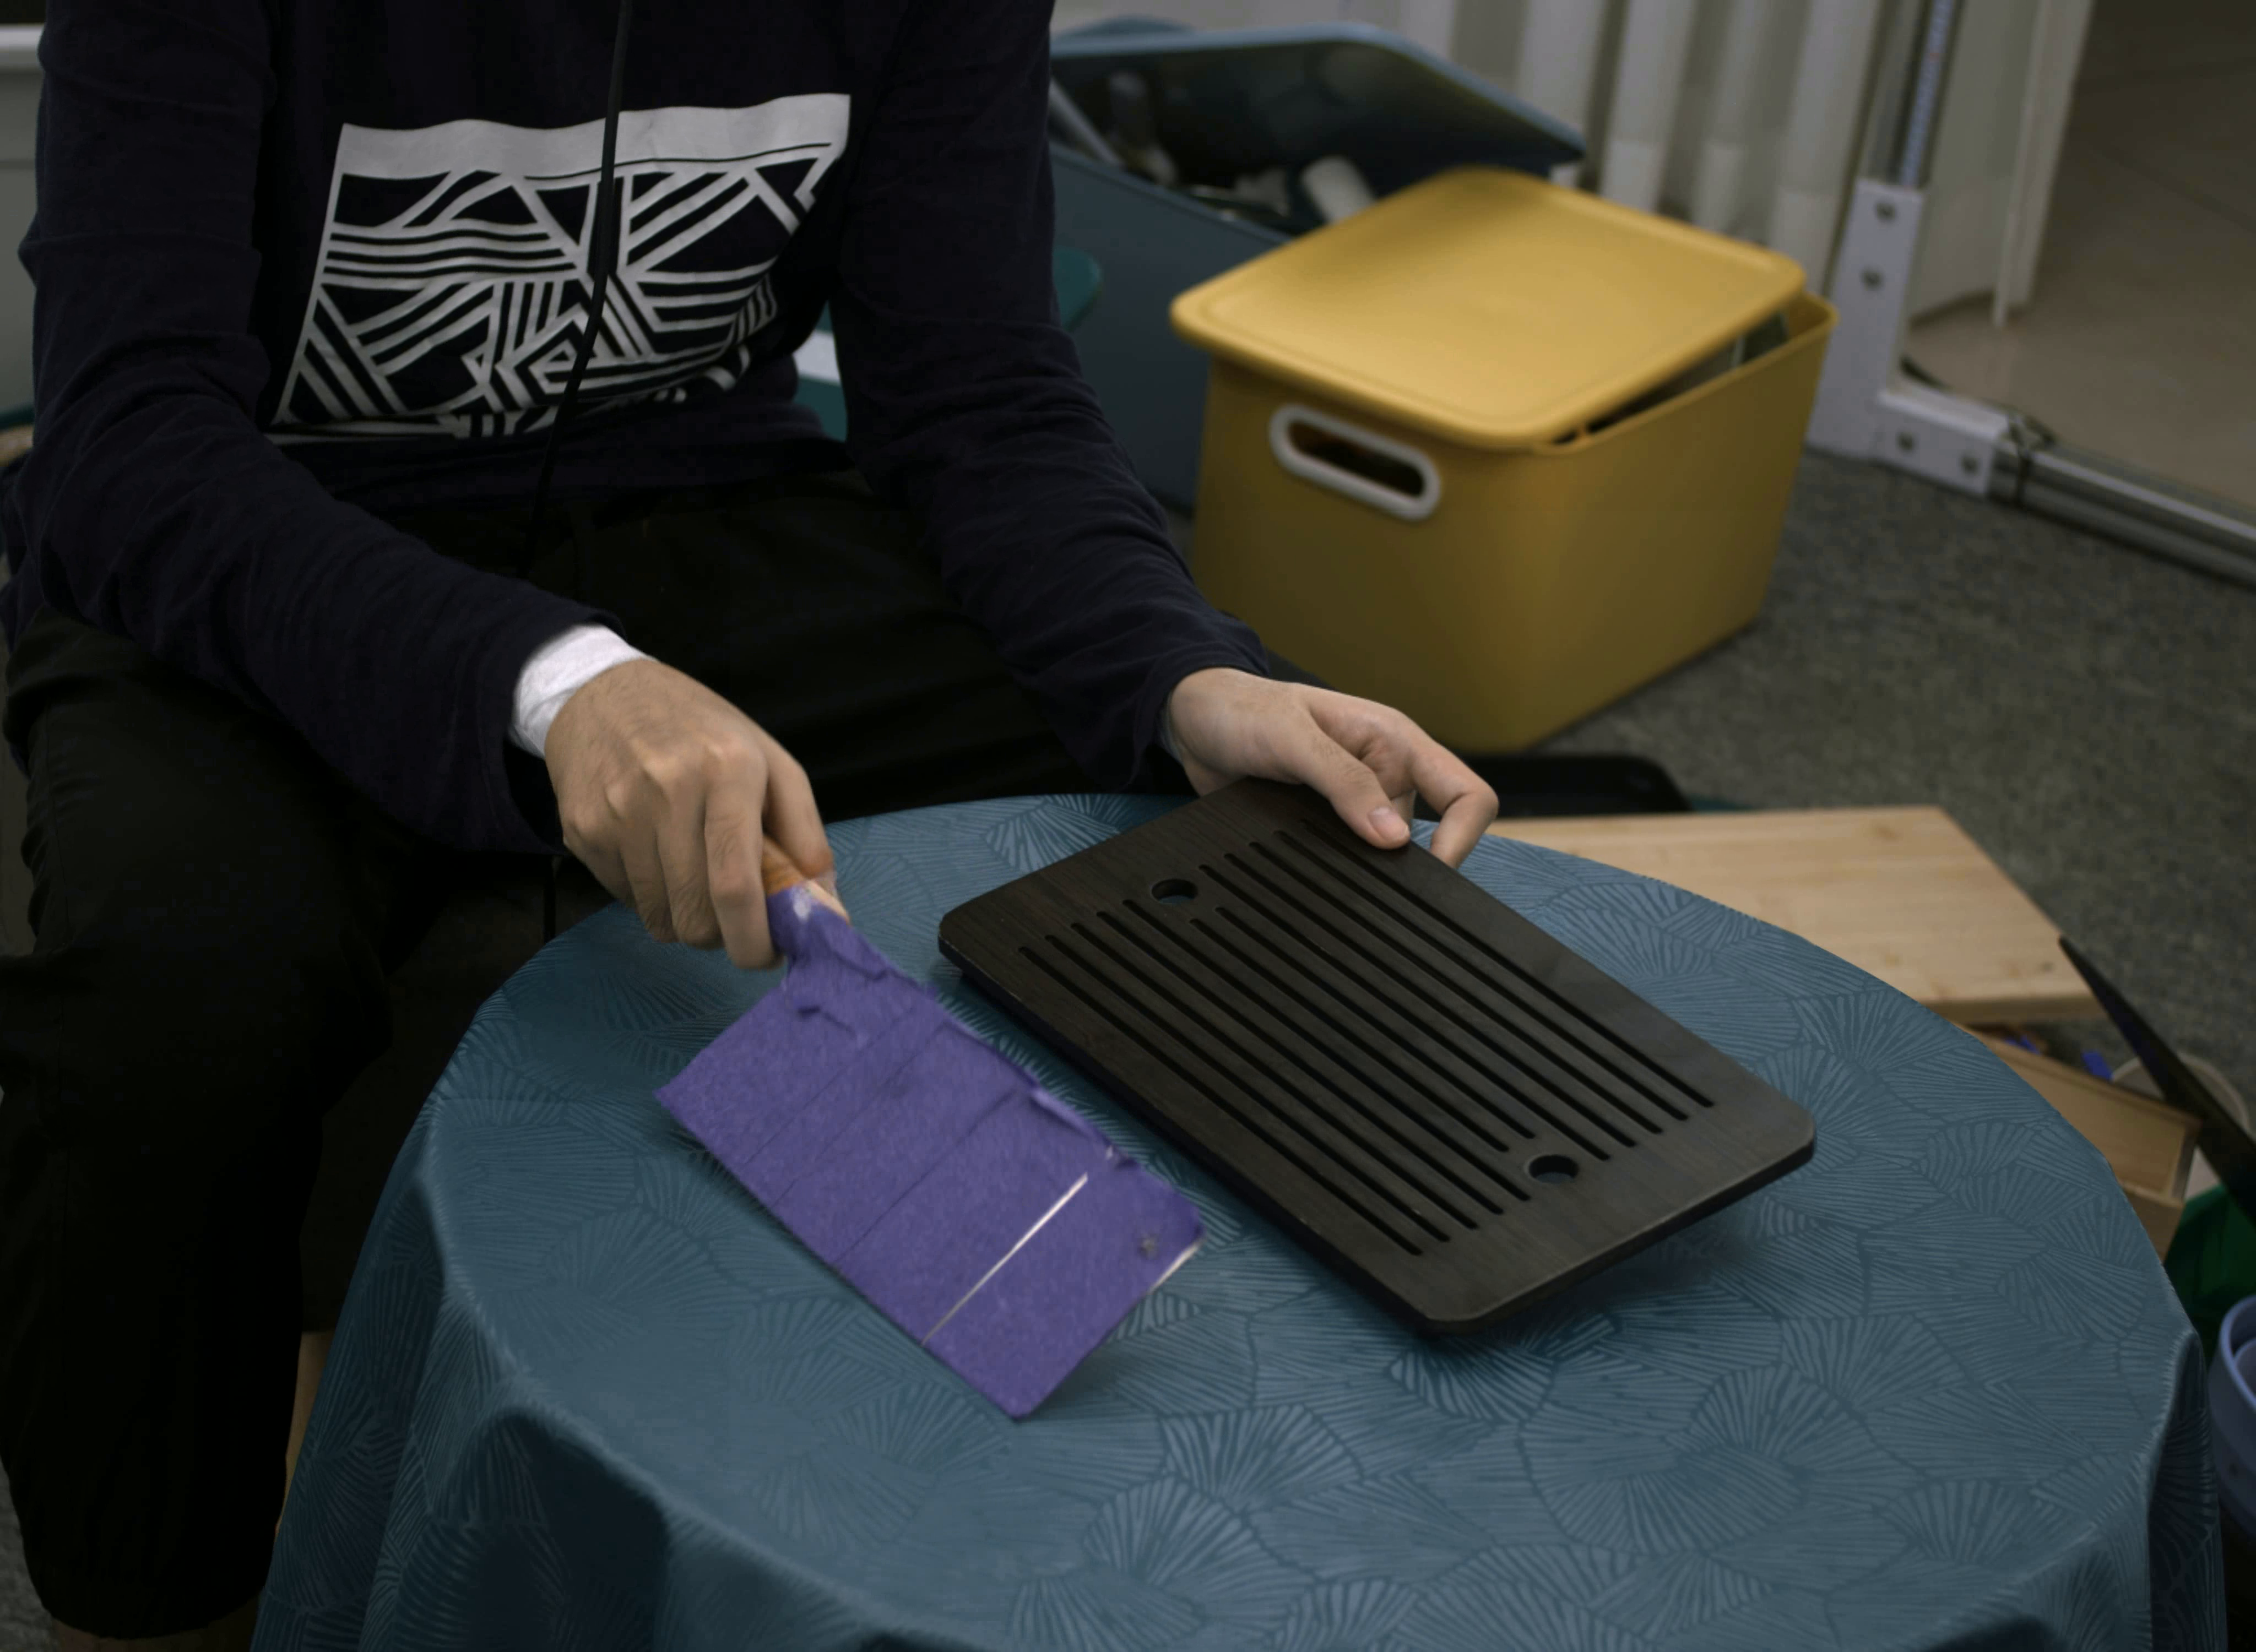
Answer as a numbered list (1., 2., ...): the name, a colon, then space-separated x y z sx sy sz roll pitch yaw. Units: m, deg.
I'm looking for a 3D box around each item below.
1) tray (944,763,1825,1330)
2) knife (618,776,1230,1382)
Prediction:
1. tray: 0.085 0.073 1.868 0.169 0.018 0.308 -24 38 -27
2. knife: -0.097 0.080 1.778 0.104 0.032 0.318 -44 46 -12
